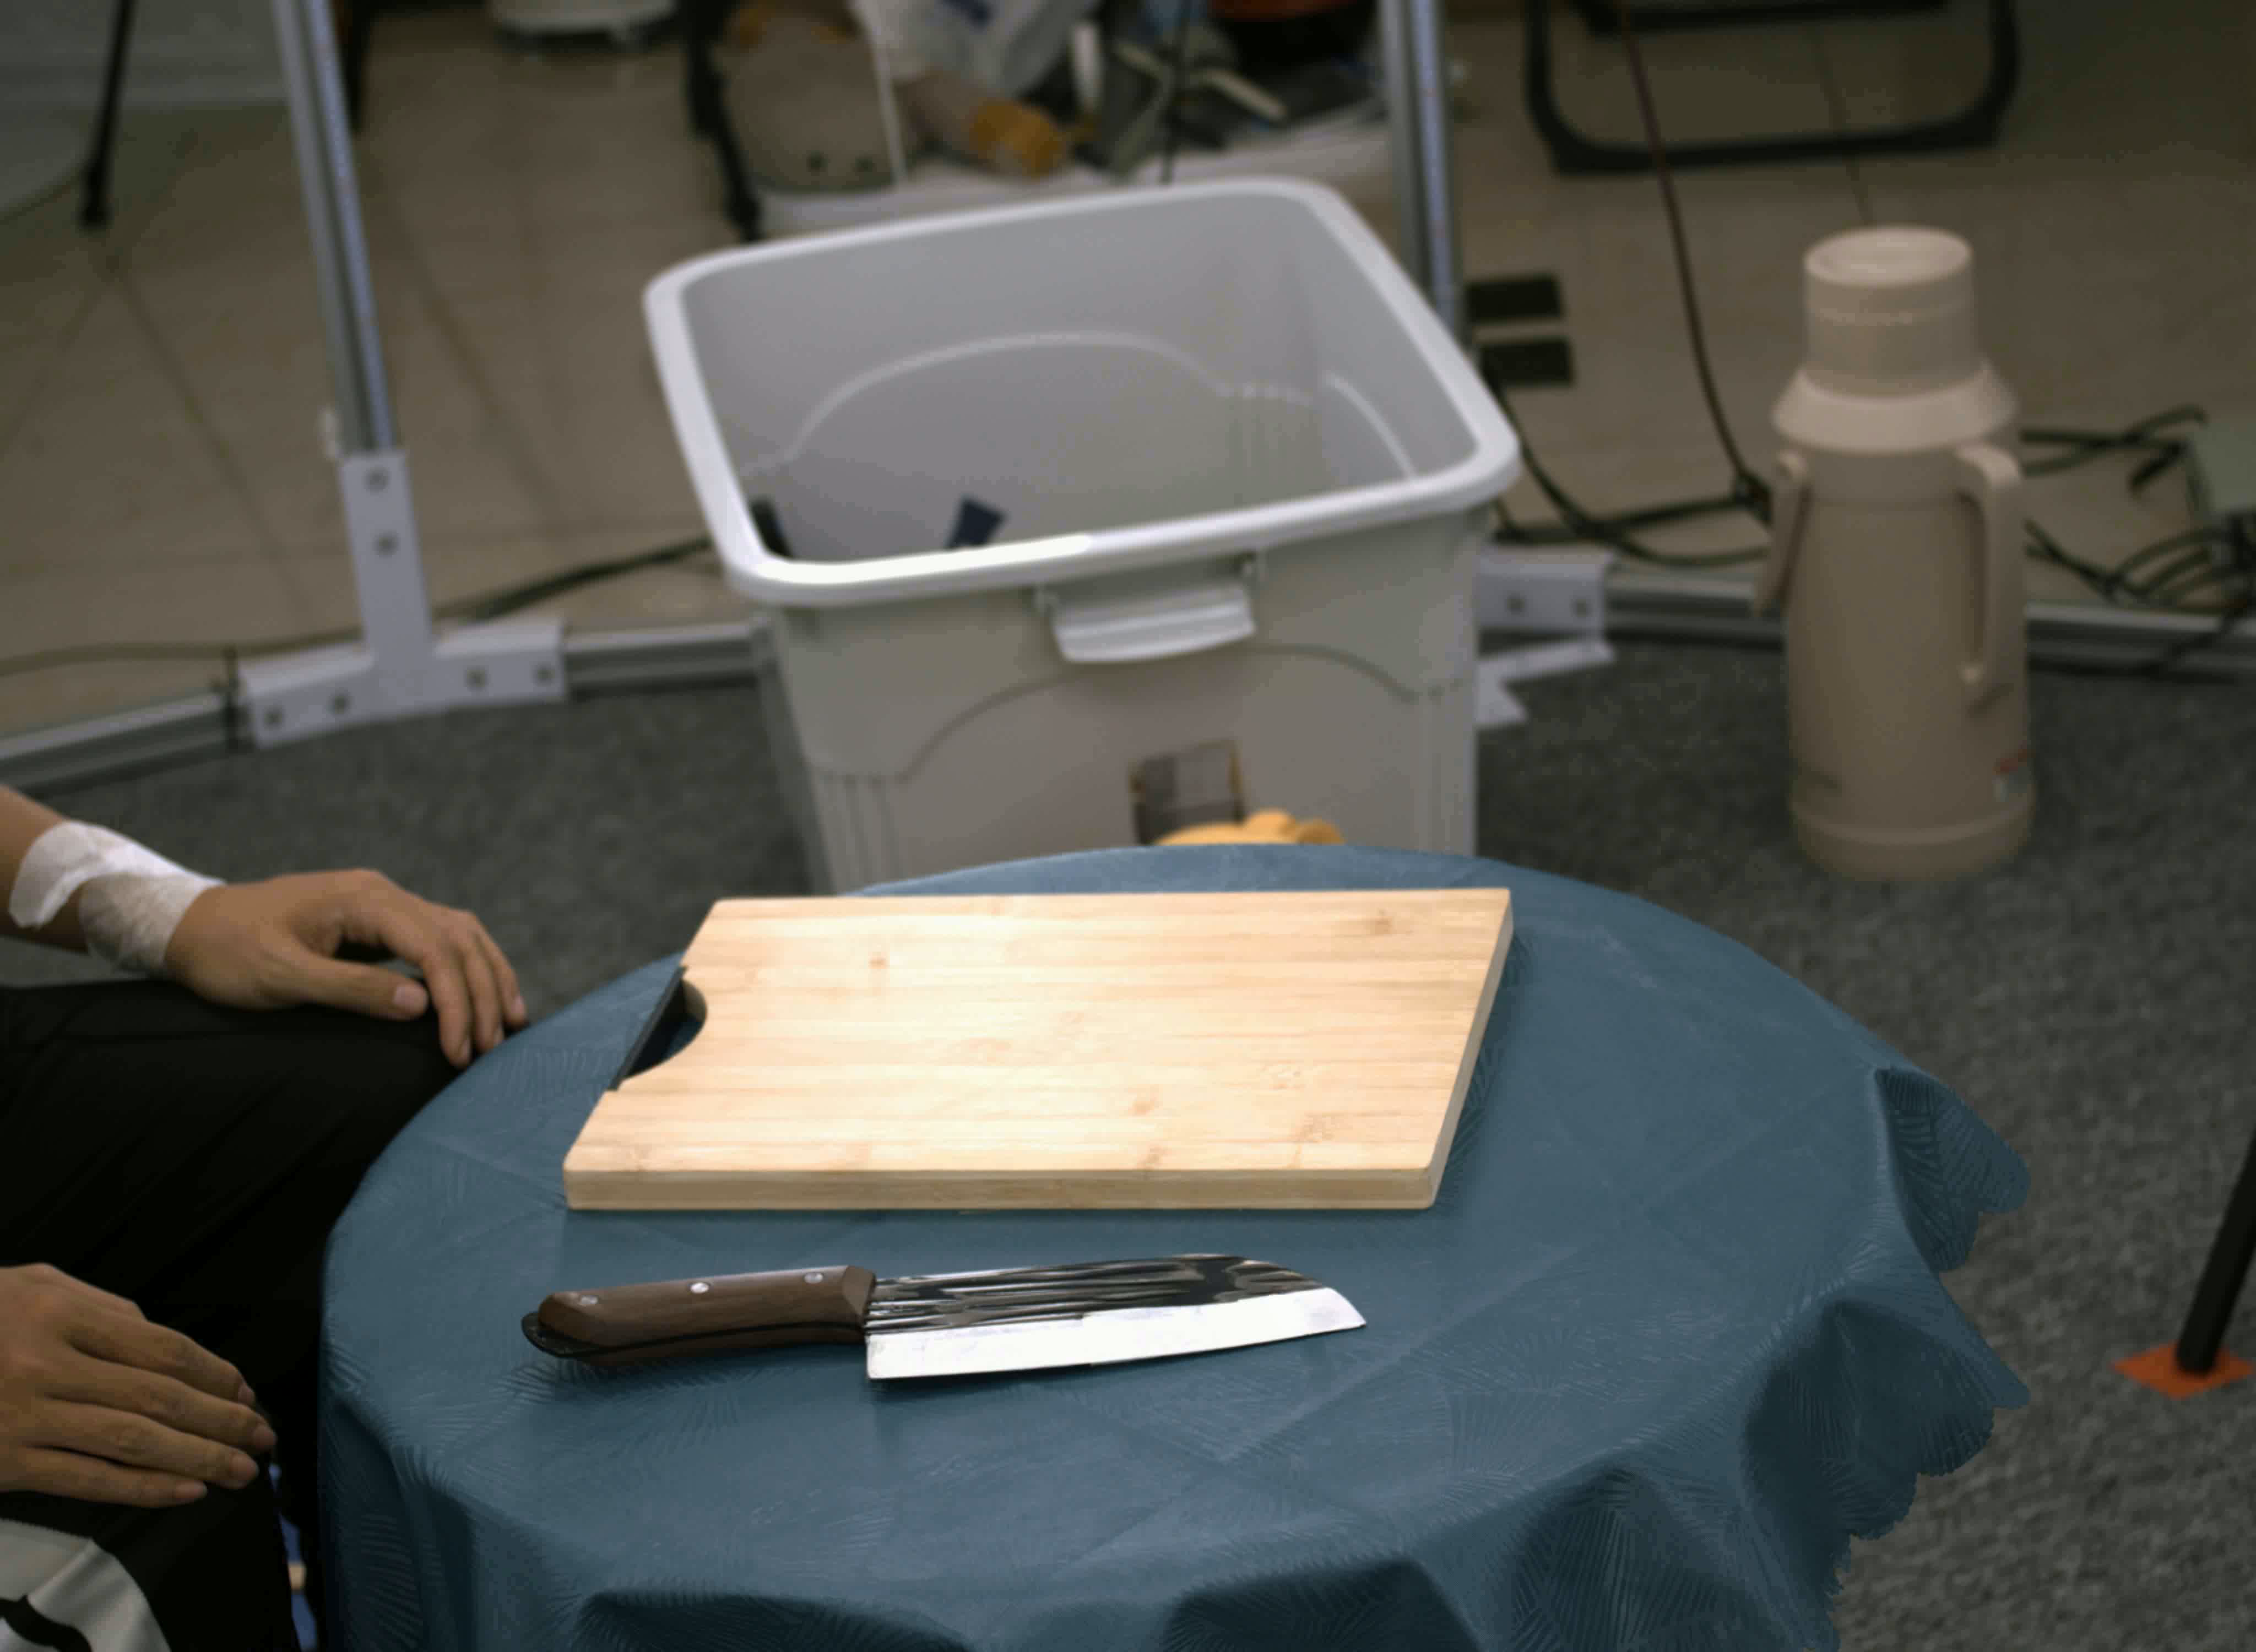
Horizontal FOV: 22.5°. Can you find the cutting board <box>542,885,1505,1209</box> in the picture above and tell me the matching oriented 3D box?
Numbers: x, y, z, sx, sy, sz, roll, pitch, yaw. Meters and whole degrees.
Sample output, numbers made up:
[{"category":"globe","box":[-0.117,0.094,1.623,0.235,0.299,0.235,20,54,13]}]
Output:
[{"category":"cutting board","box":[-0.036,0.087,2.253,0.348,0.024,0.247,-1,25,12]}]

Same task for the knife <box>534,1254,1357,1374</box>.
[{"category":"knife","box":[-0.068,0.179,2.059,0.299,0.024,0.067,-4,27,-1]}]
